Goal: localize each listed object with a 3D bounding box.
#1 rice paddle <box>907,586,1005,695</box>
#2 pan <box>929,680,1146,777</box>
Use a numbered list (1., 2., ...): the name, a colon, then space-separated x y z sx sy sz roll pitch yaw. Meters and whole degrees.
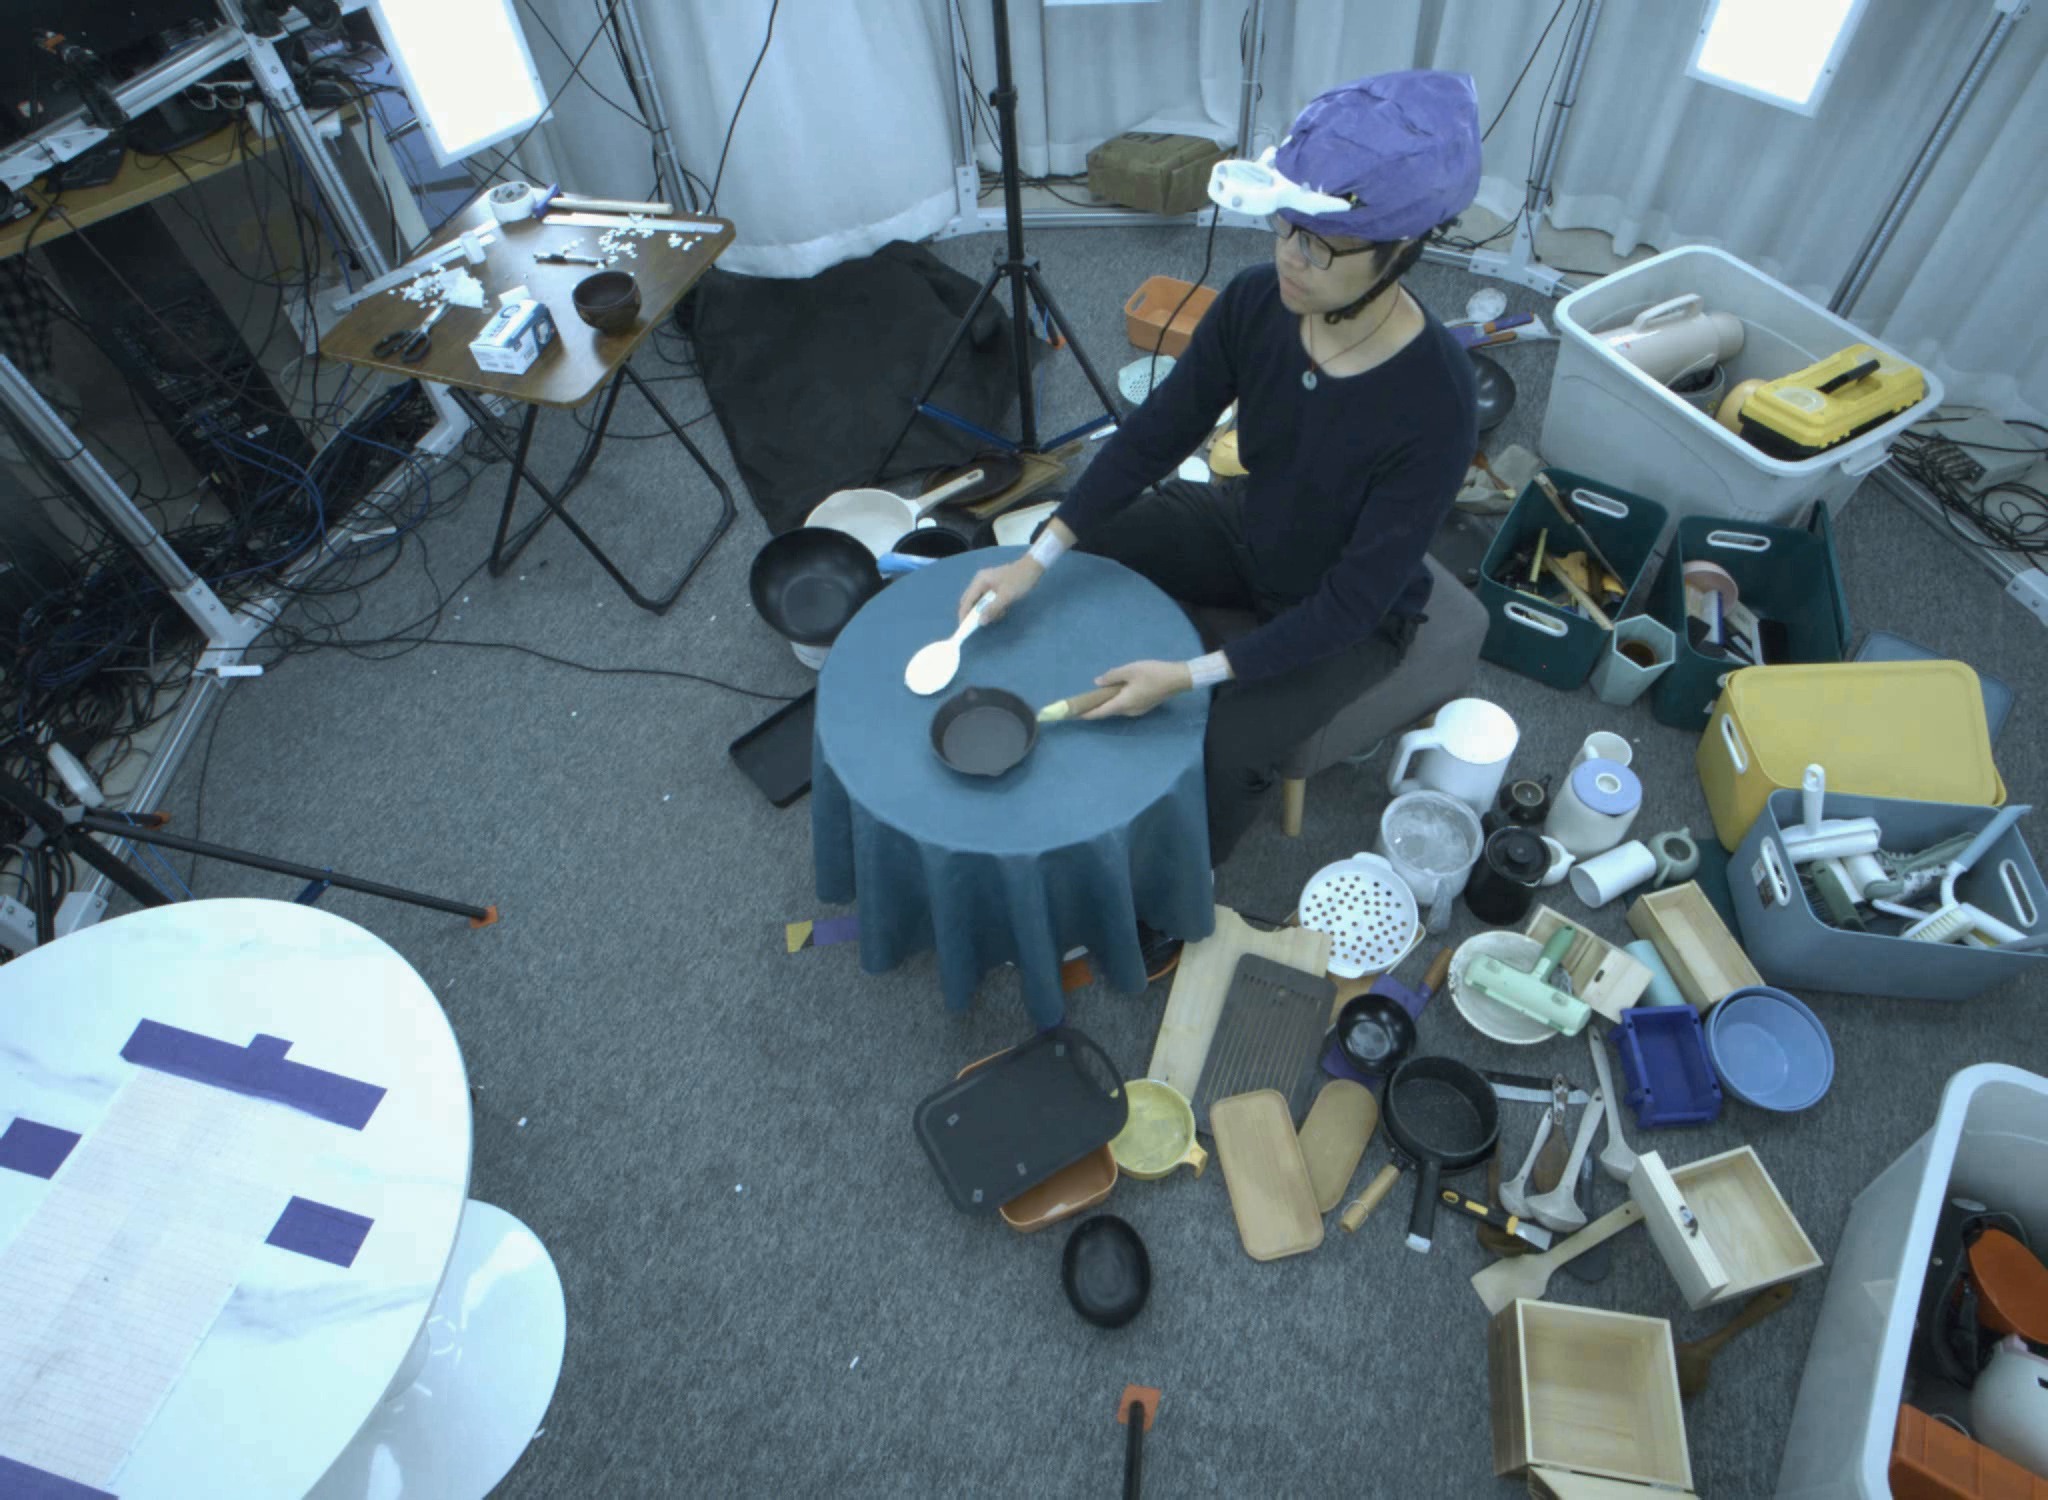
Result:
1. rice paddle: -0.103 -0.166 1.866 0.068 0.029 0.206 35 74 14
2. pan: 0.023 -0.047 1.786 0.325 0.050 0.166 -14 55 -5
